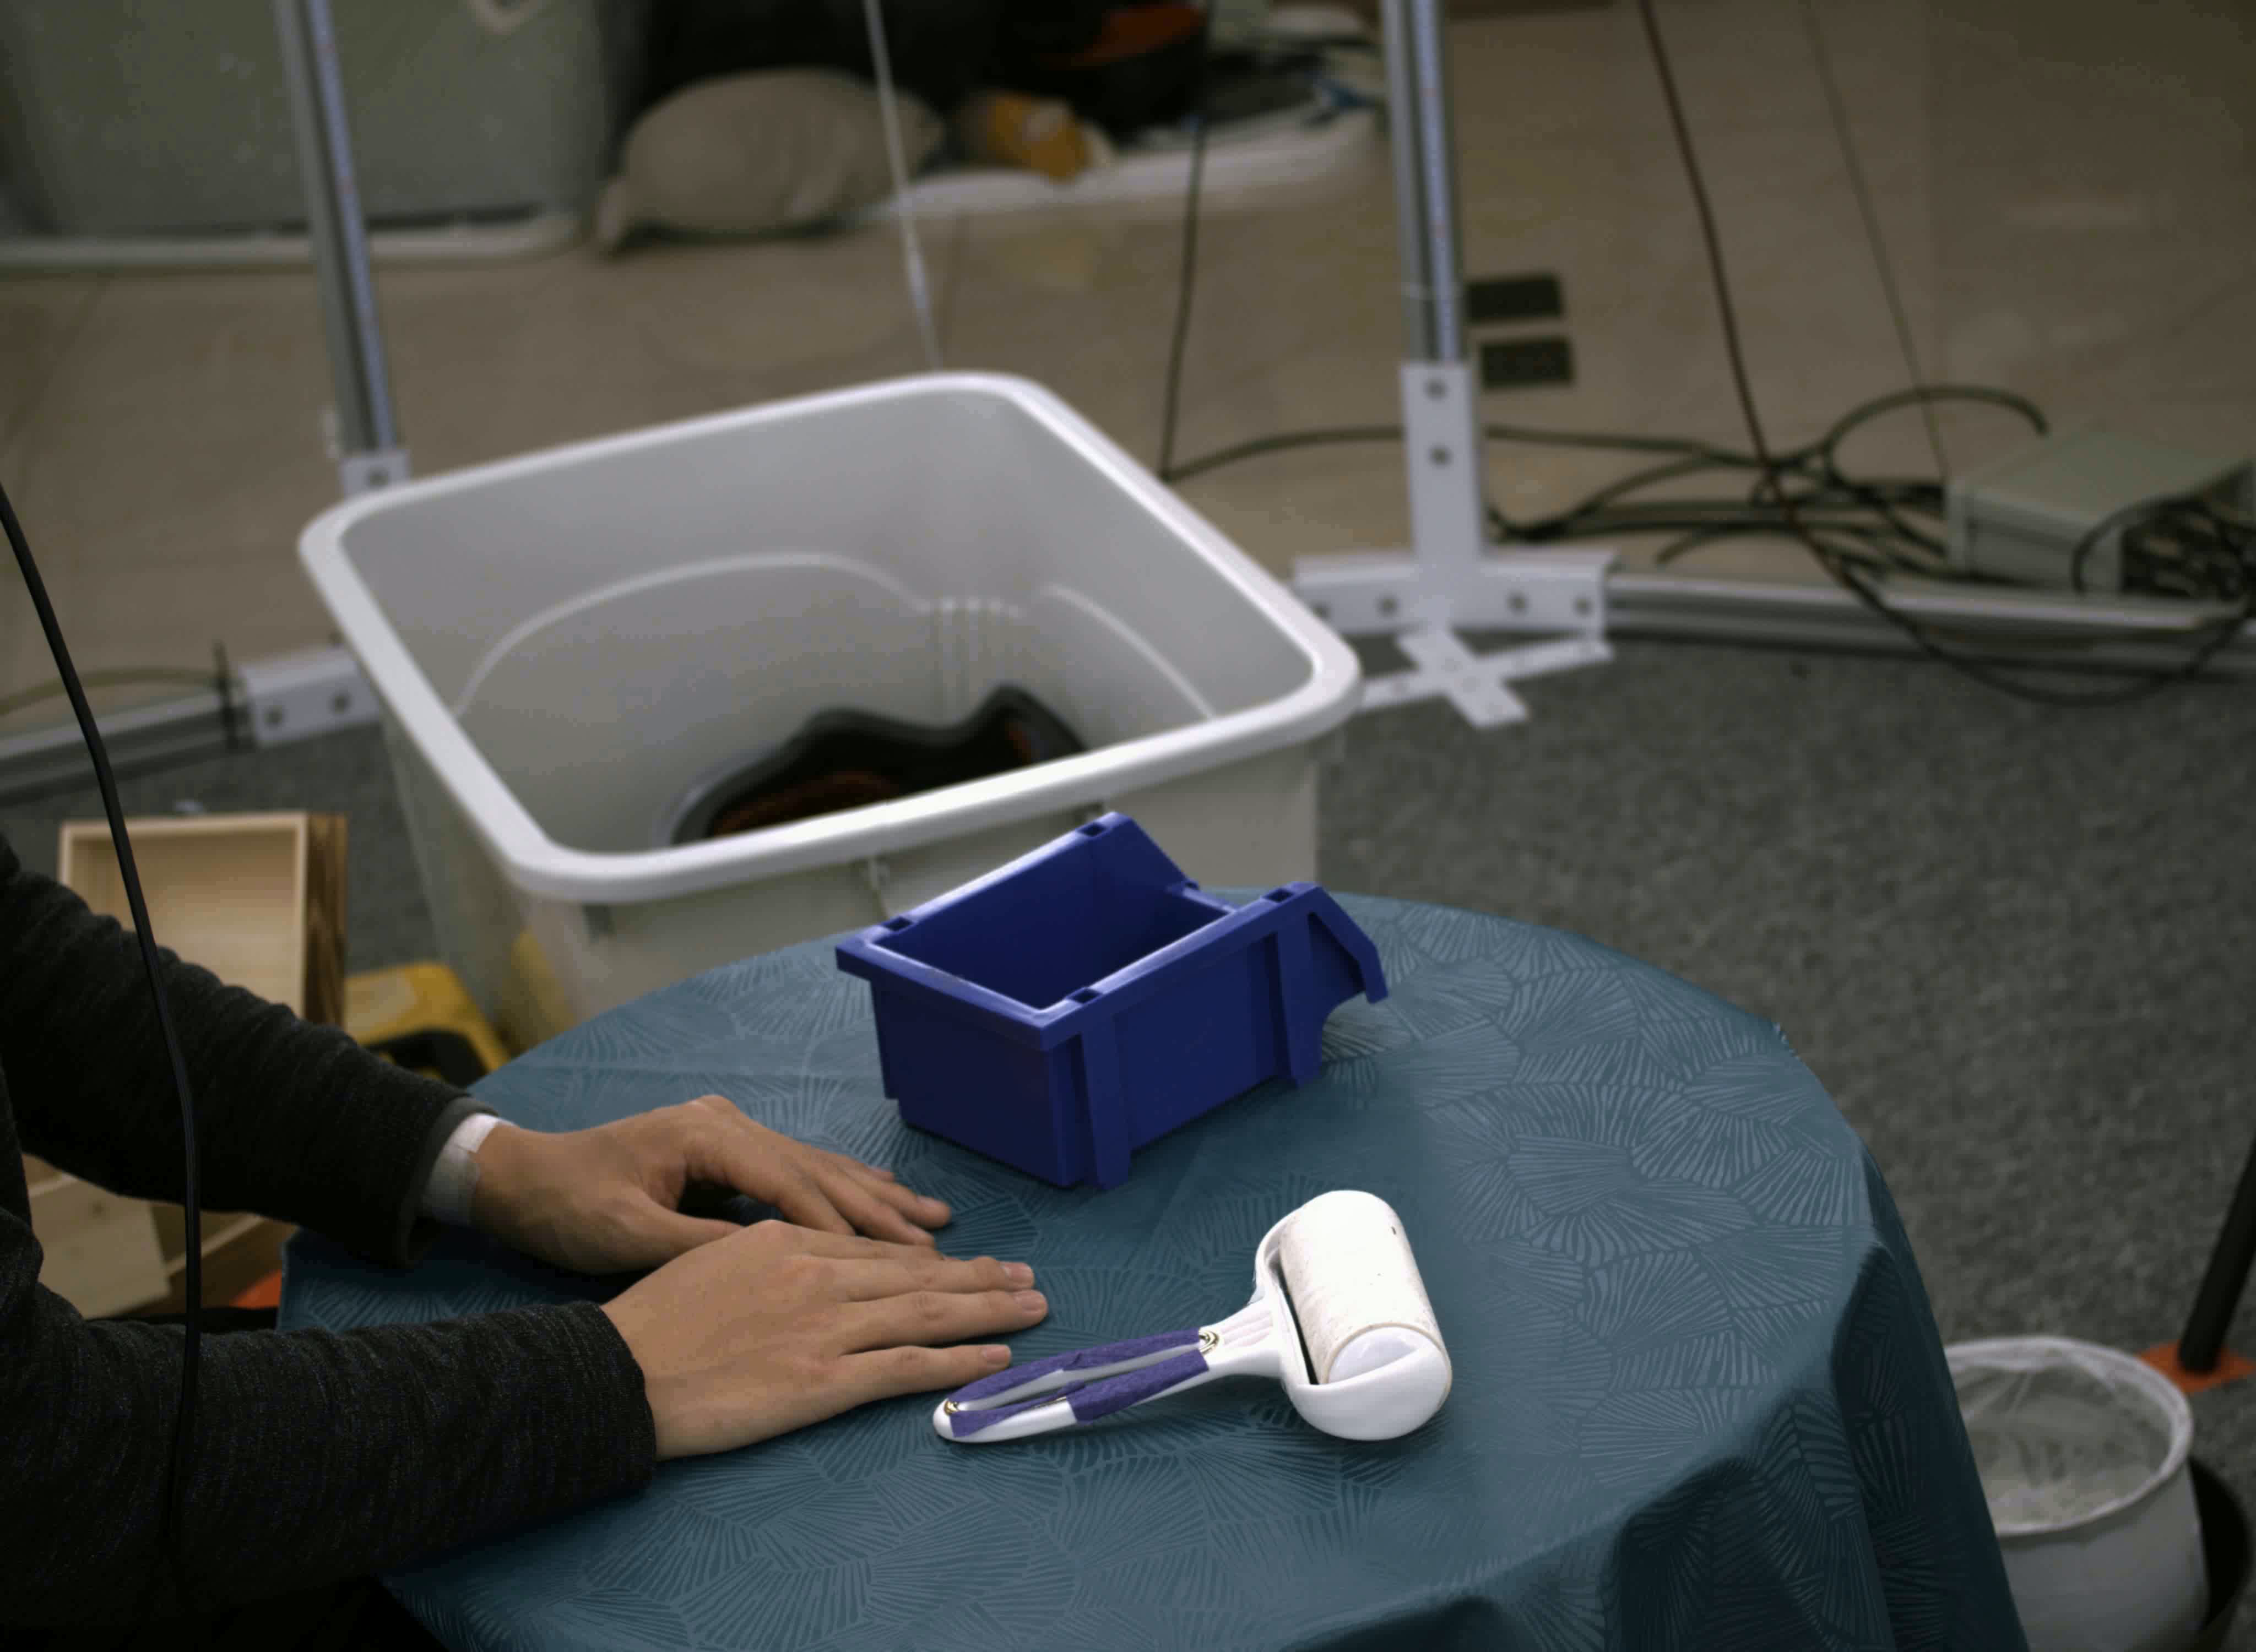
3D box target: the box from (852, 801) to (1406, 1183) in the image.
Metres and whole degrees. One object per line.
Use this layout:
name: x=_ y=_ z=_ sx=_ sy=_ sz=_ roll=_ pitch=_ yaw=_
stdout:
box: x=0.001 y=0.060 z=2.219 sx=0.178 sy=0.083 sz=0.123 roll=-28 pitch=32 yaw=-33

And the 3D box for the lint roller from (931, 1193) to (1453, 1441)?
lint roller: x=0.018 y=0.180 z=1.999 sx=0.180 sy=0.051 sz=0.131 roll=-6 pitch=26 yaw=-3
